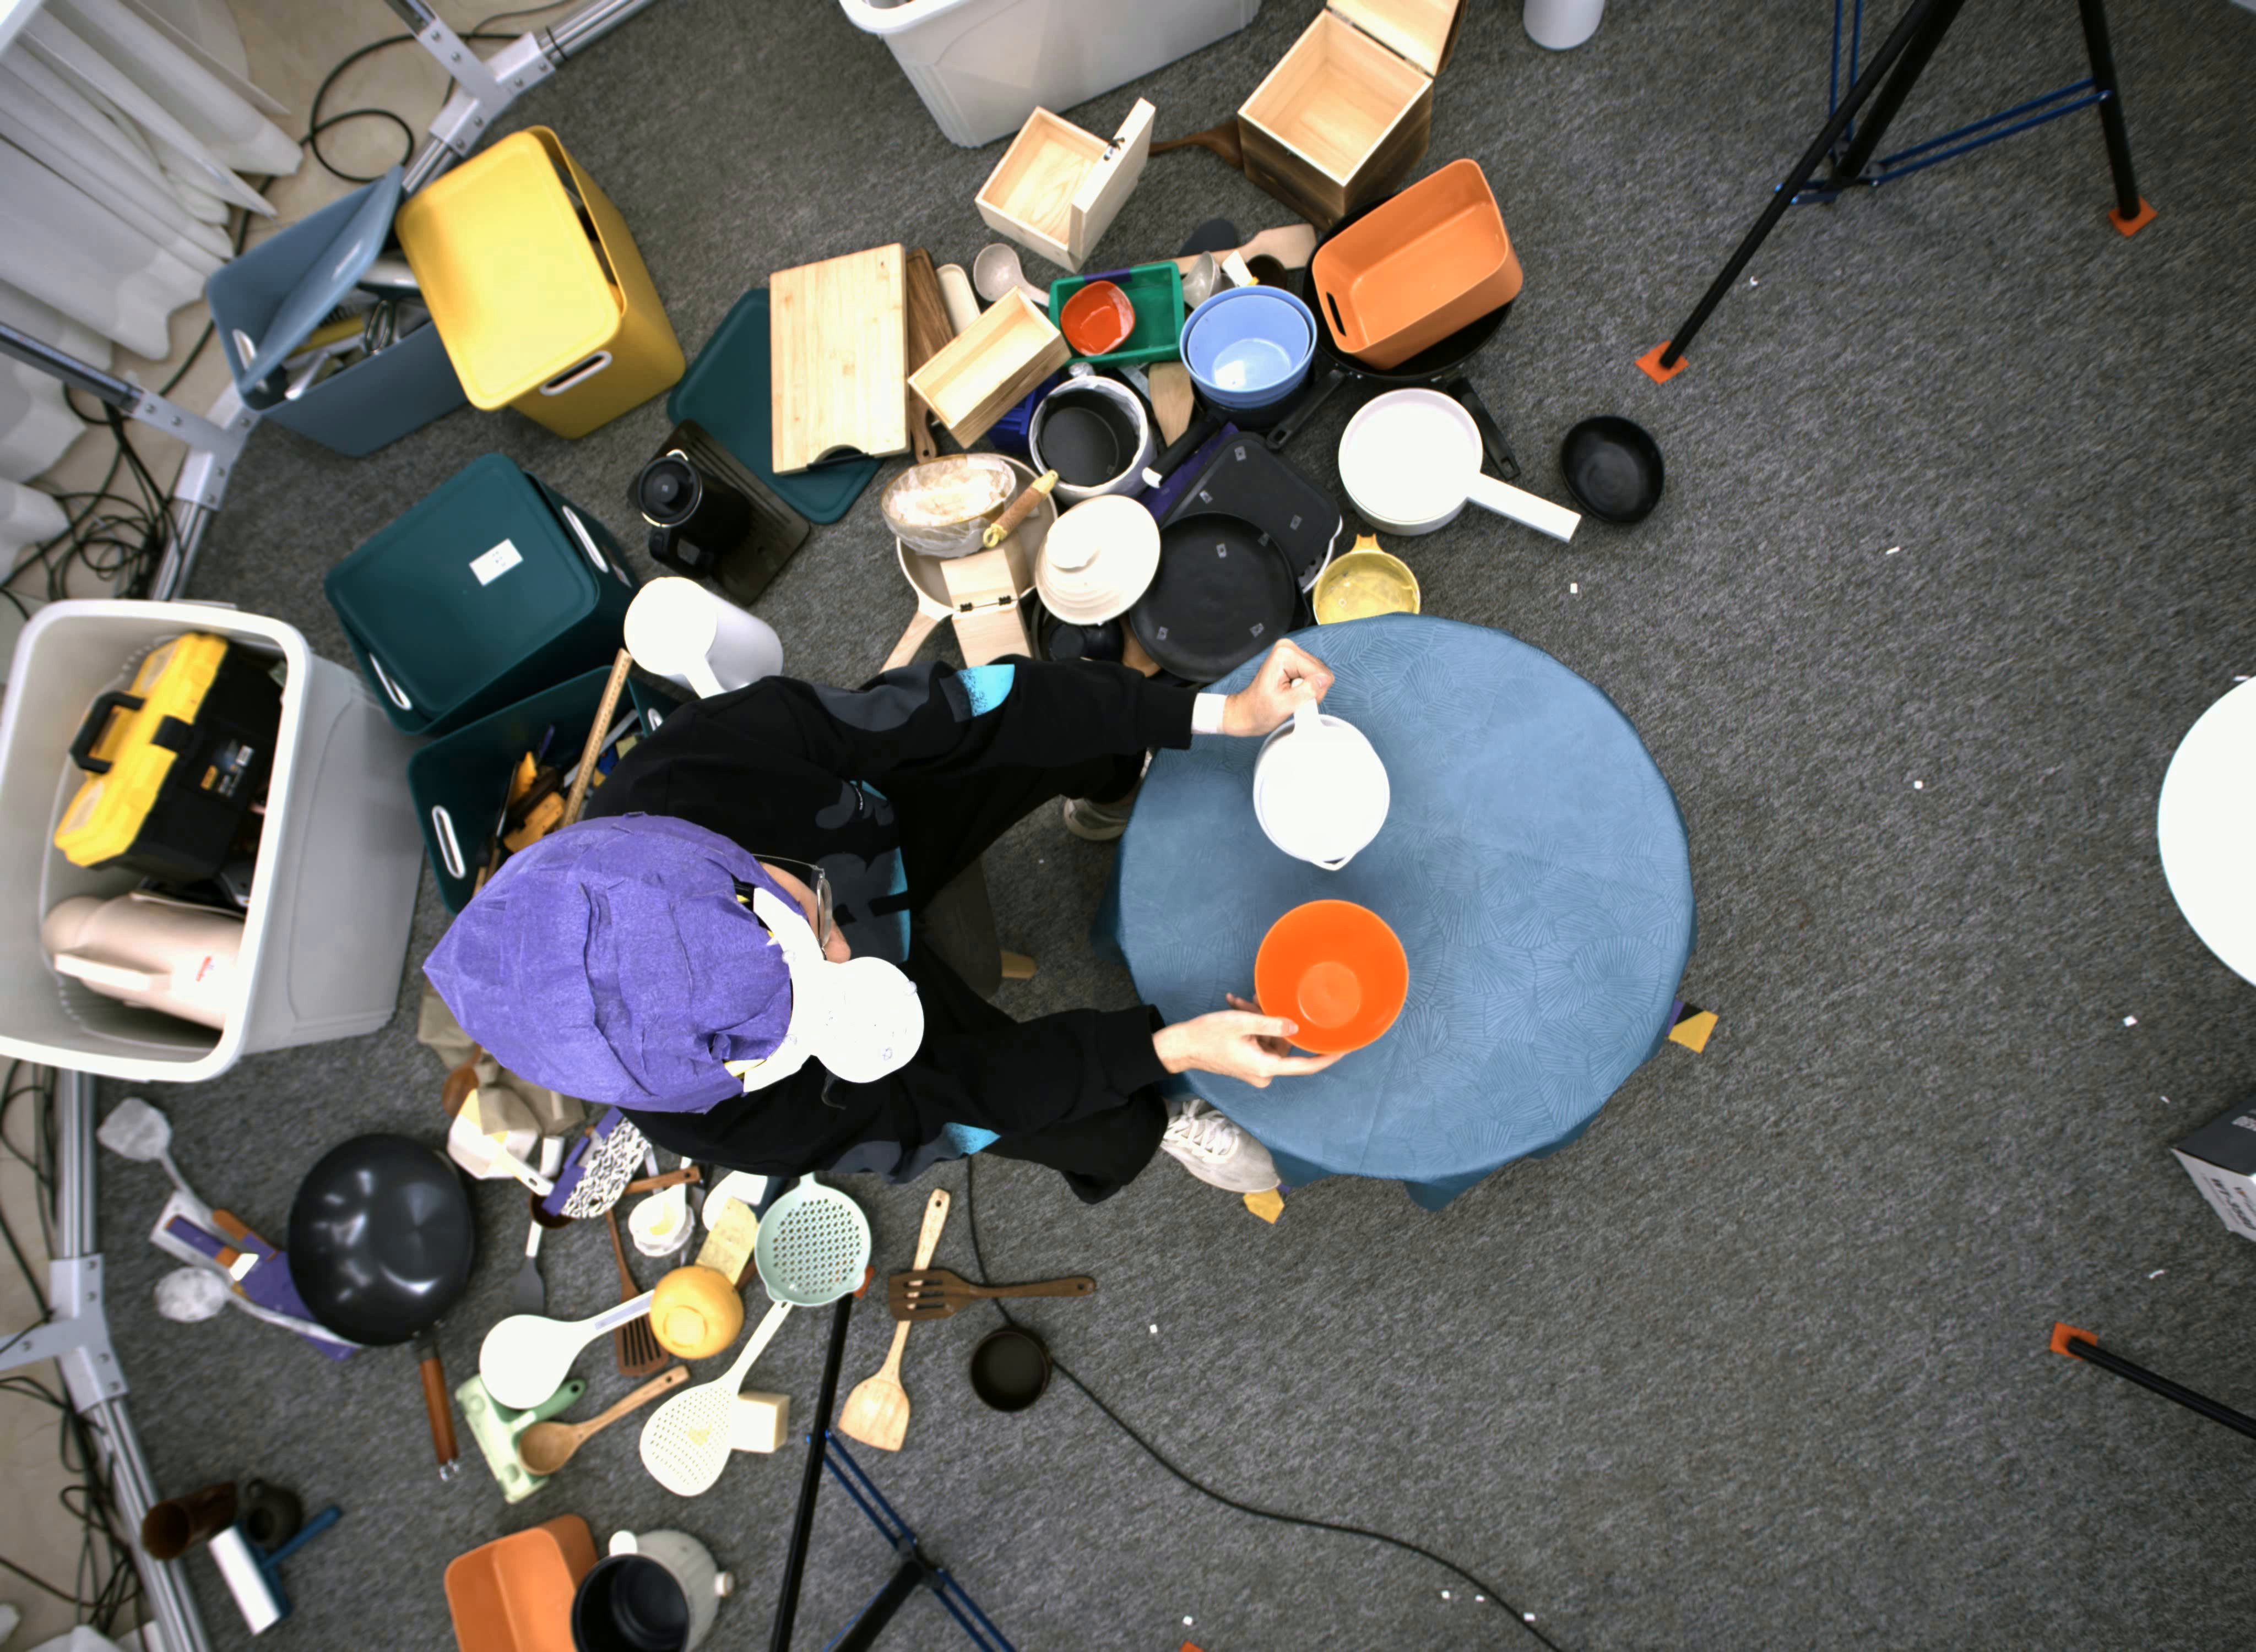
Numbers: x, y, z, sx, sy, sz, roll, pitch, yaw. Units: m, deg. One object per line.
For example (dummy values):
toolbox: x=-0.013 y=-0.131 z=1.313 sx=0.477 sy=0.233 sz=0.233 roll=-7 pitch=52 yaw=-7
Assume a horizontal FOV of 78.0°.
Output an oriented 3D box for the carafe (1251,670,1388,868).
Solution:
carafe: x=0.182 y=-0.063 z=1.367 sx=0.133 sy=0.181 sz=0.192 roll=-13 pitch=97 yaw=7

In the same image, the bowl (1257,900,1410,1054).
bowl: x=0.203 y=0.153 z=1.374 sx=0.148 sy=0.105 sz=0.146 roll=-2 pitch=80 yaw=8
